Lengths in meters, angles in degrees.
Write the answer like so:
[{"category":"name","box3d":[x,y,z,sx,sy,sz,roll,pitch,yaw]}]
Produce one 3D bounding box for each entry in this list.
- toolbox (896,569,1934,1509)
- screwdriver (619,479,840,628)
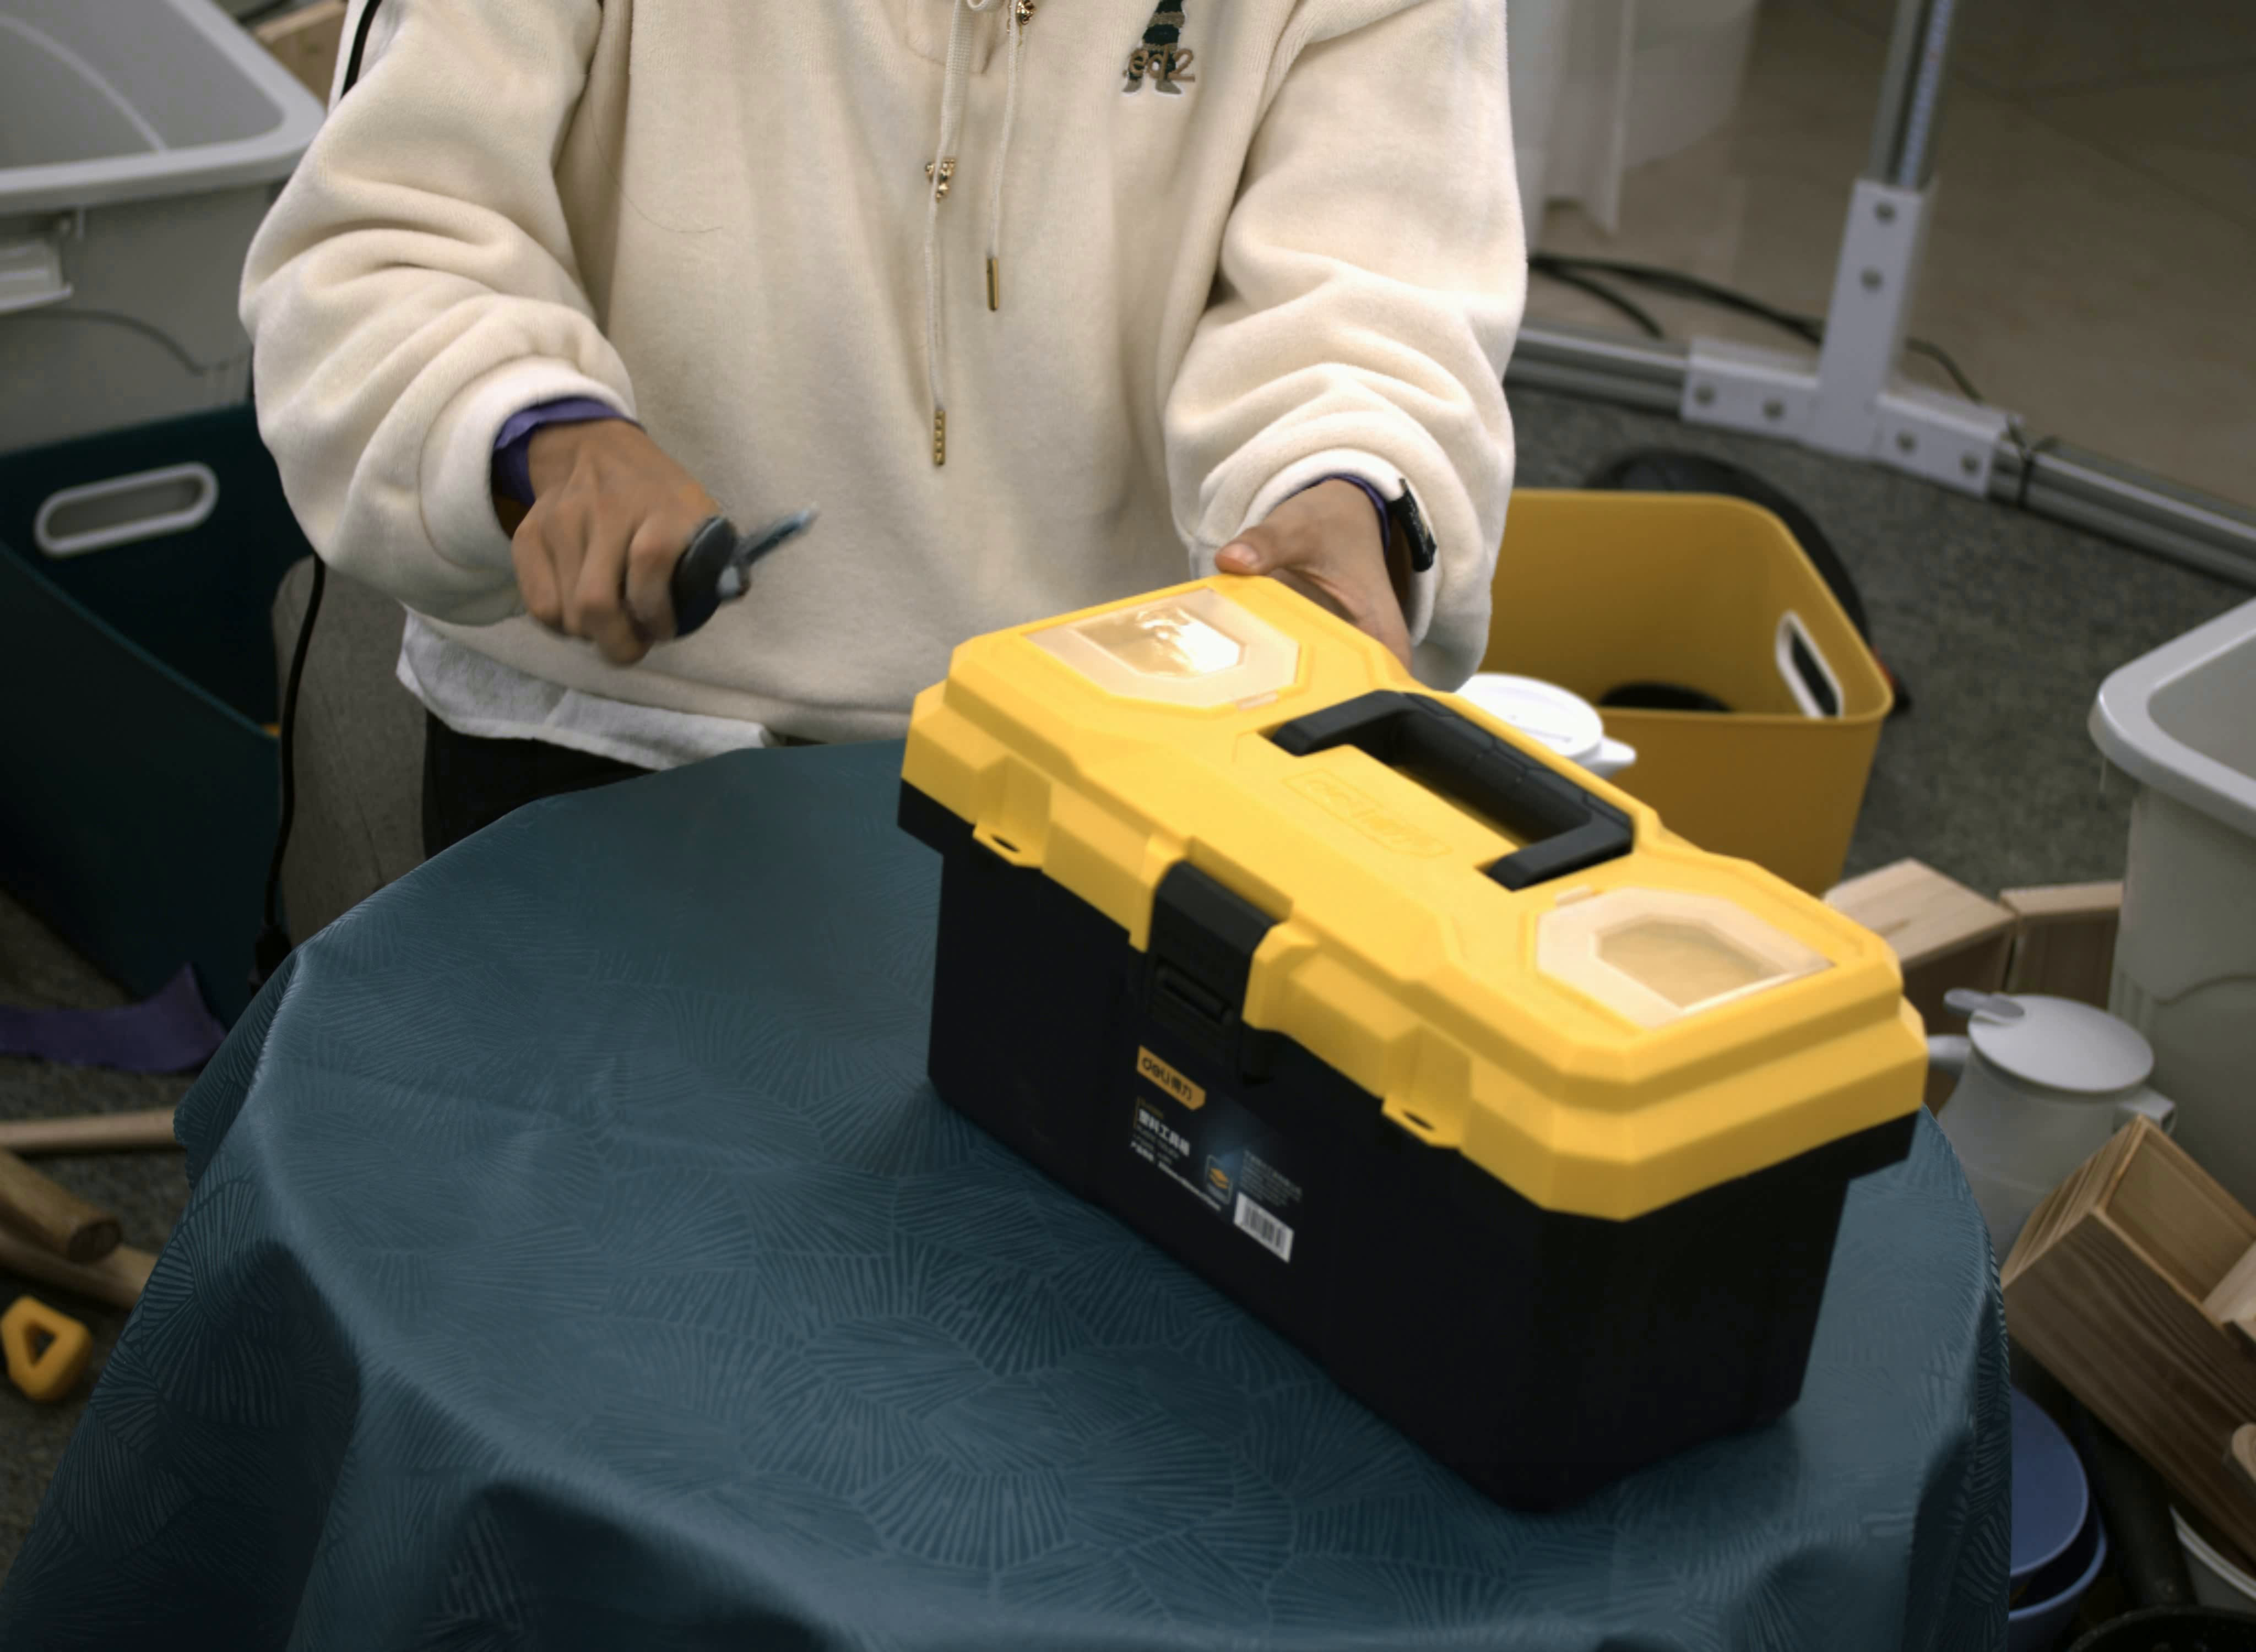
[{"category":"toolbox","box3d":[0.081,0.064,1.747,0.180,0.172,0.354,-15,34,-37]},{"category":"screwdriver","box3d":[-0.139,-0.099,1.837,0.031,0.031,0.196,-4,-9,-22]}]
